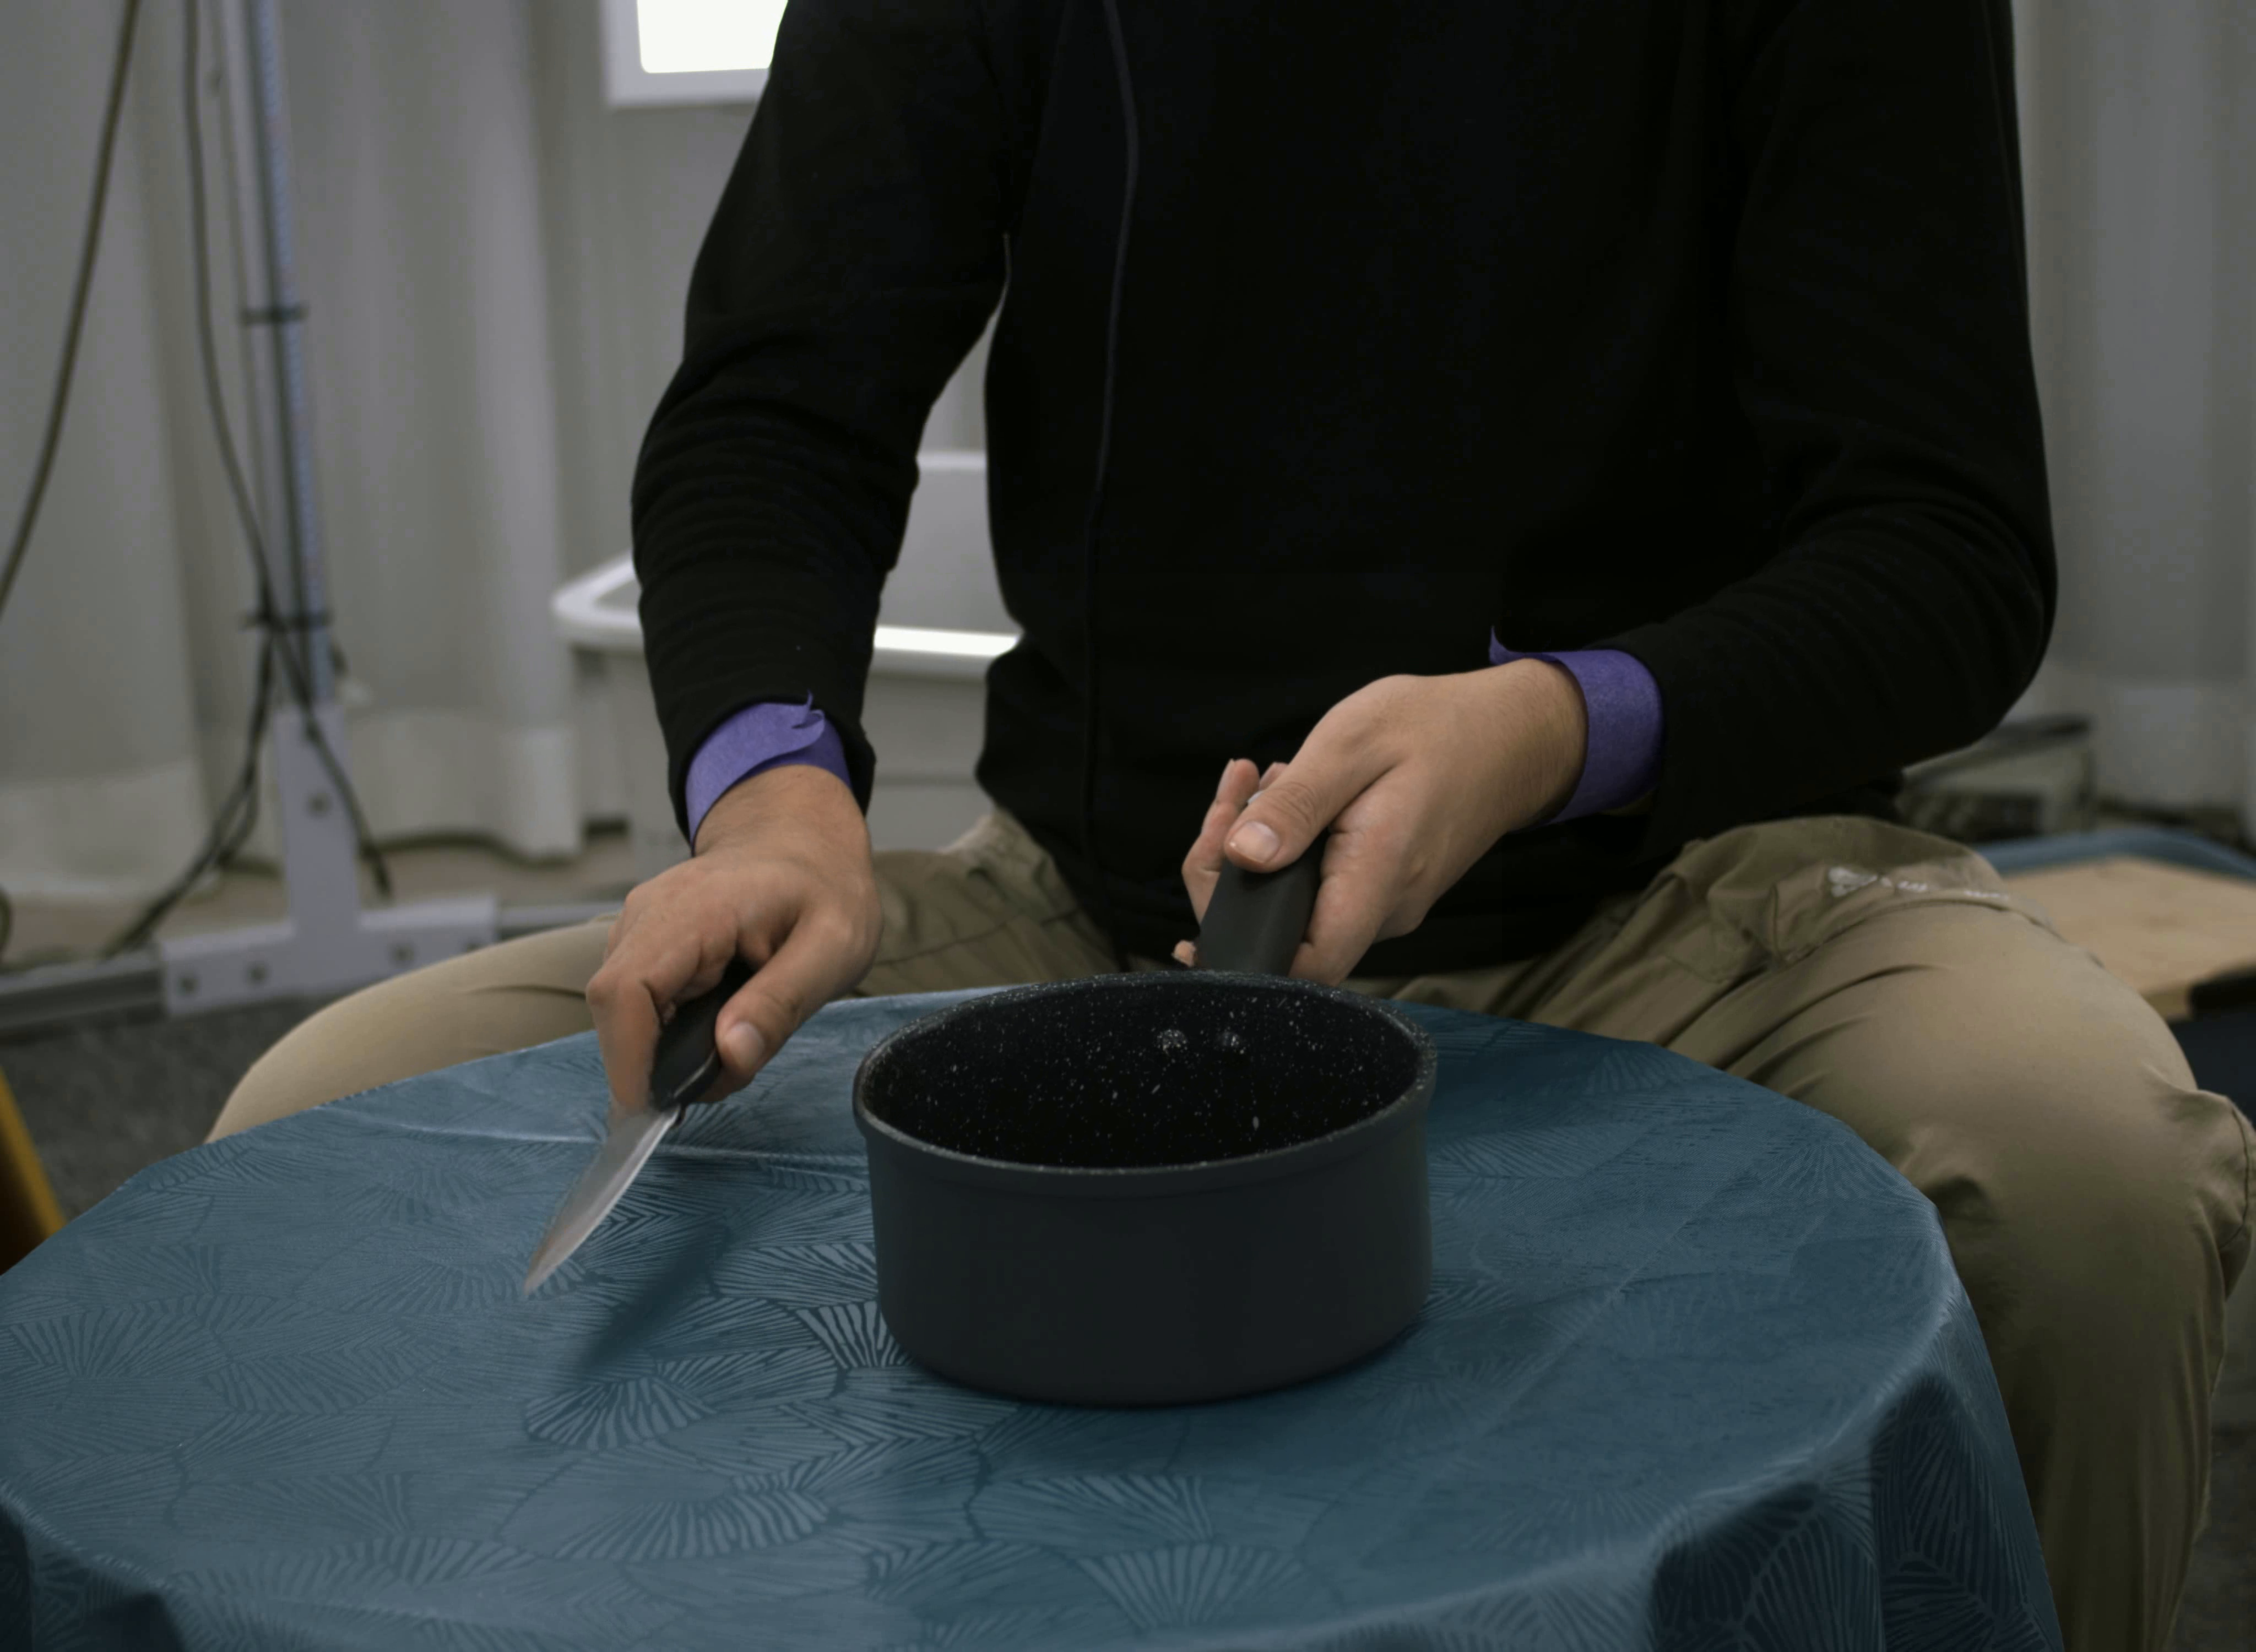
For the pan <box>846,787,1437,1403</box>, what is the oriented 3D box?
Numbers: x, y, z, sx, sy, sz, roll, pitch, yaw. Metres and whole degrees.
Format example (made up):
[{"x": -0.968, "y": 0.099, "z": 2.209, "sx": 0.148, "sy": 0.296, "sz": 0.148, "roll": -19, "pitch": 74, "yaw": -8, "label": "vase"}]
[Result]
[{"x": 0.027, "y": 0.078, "z": 1.665, "sx": 0.172, "sy": 0.086, "sz": 0.330, "roll": 2, "pitch": 19, "yaw": 16, "label": "pan"}]

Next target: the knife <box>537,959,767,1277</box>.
[{"x": -0.149, "y": 0.090, "z": 1.676, "sx": 0.024, "sy": 0.016, "sz": 0.240, "roll": -16, "pitch": 16, "yaw": 16, "label": "knife"}]
